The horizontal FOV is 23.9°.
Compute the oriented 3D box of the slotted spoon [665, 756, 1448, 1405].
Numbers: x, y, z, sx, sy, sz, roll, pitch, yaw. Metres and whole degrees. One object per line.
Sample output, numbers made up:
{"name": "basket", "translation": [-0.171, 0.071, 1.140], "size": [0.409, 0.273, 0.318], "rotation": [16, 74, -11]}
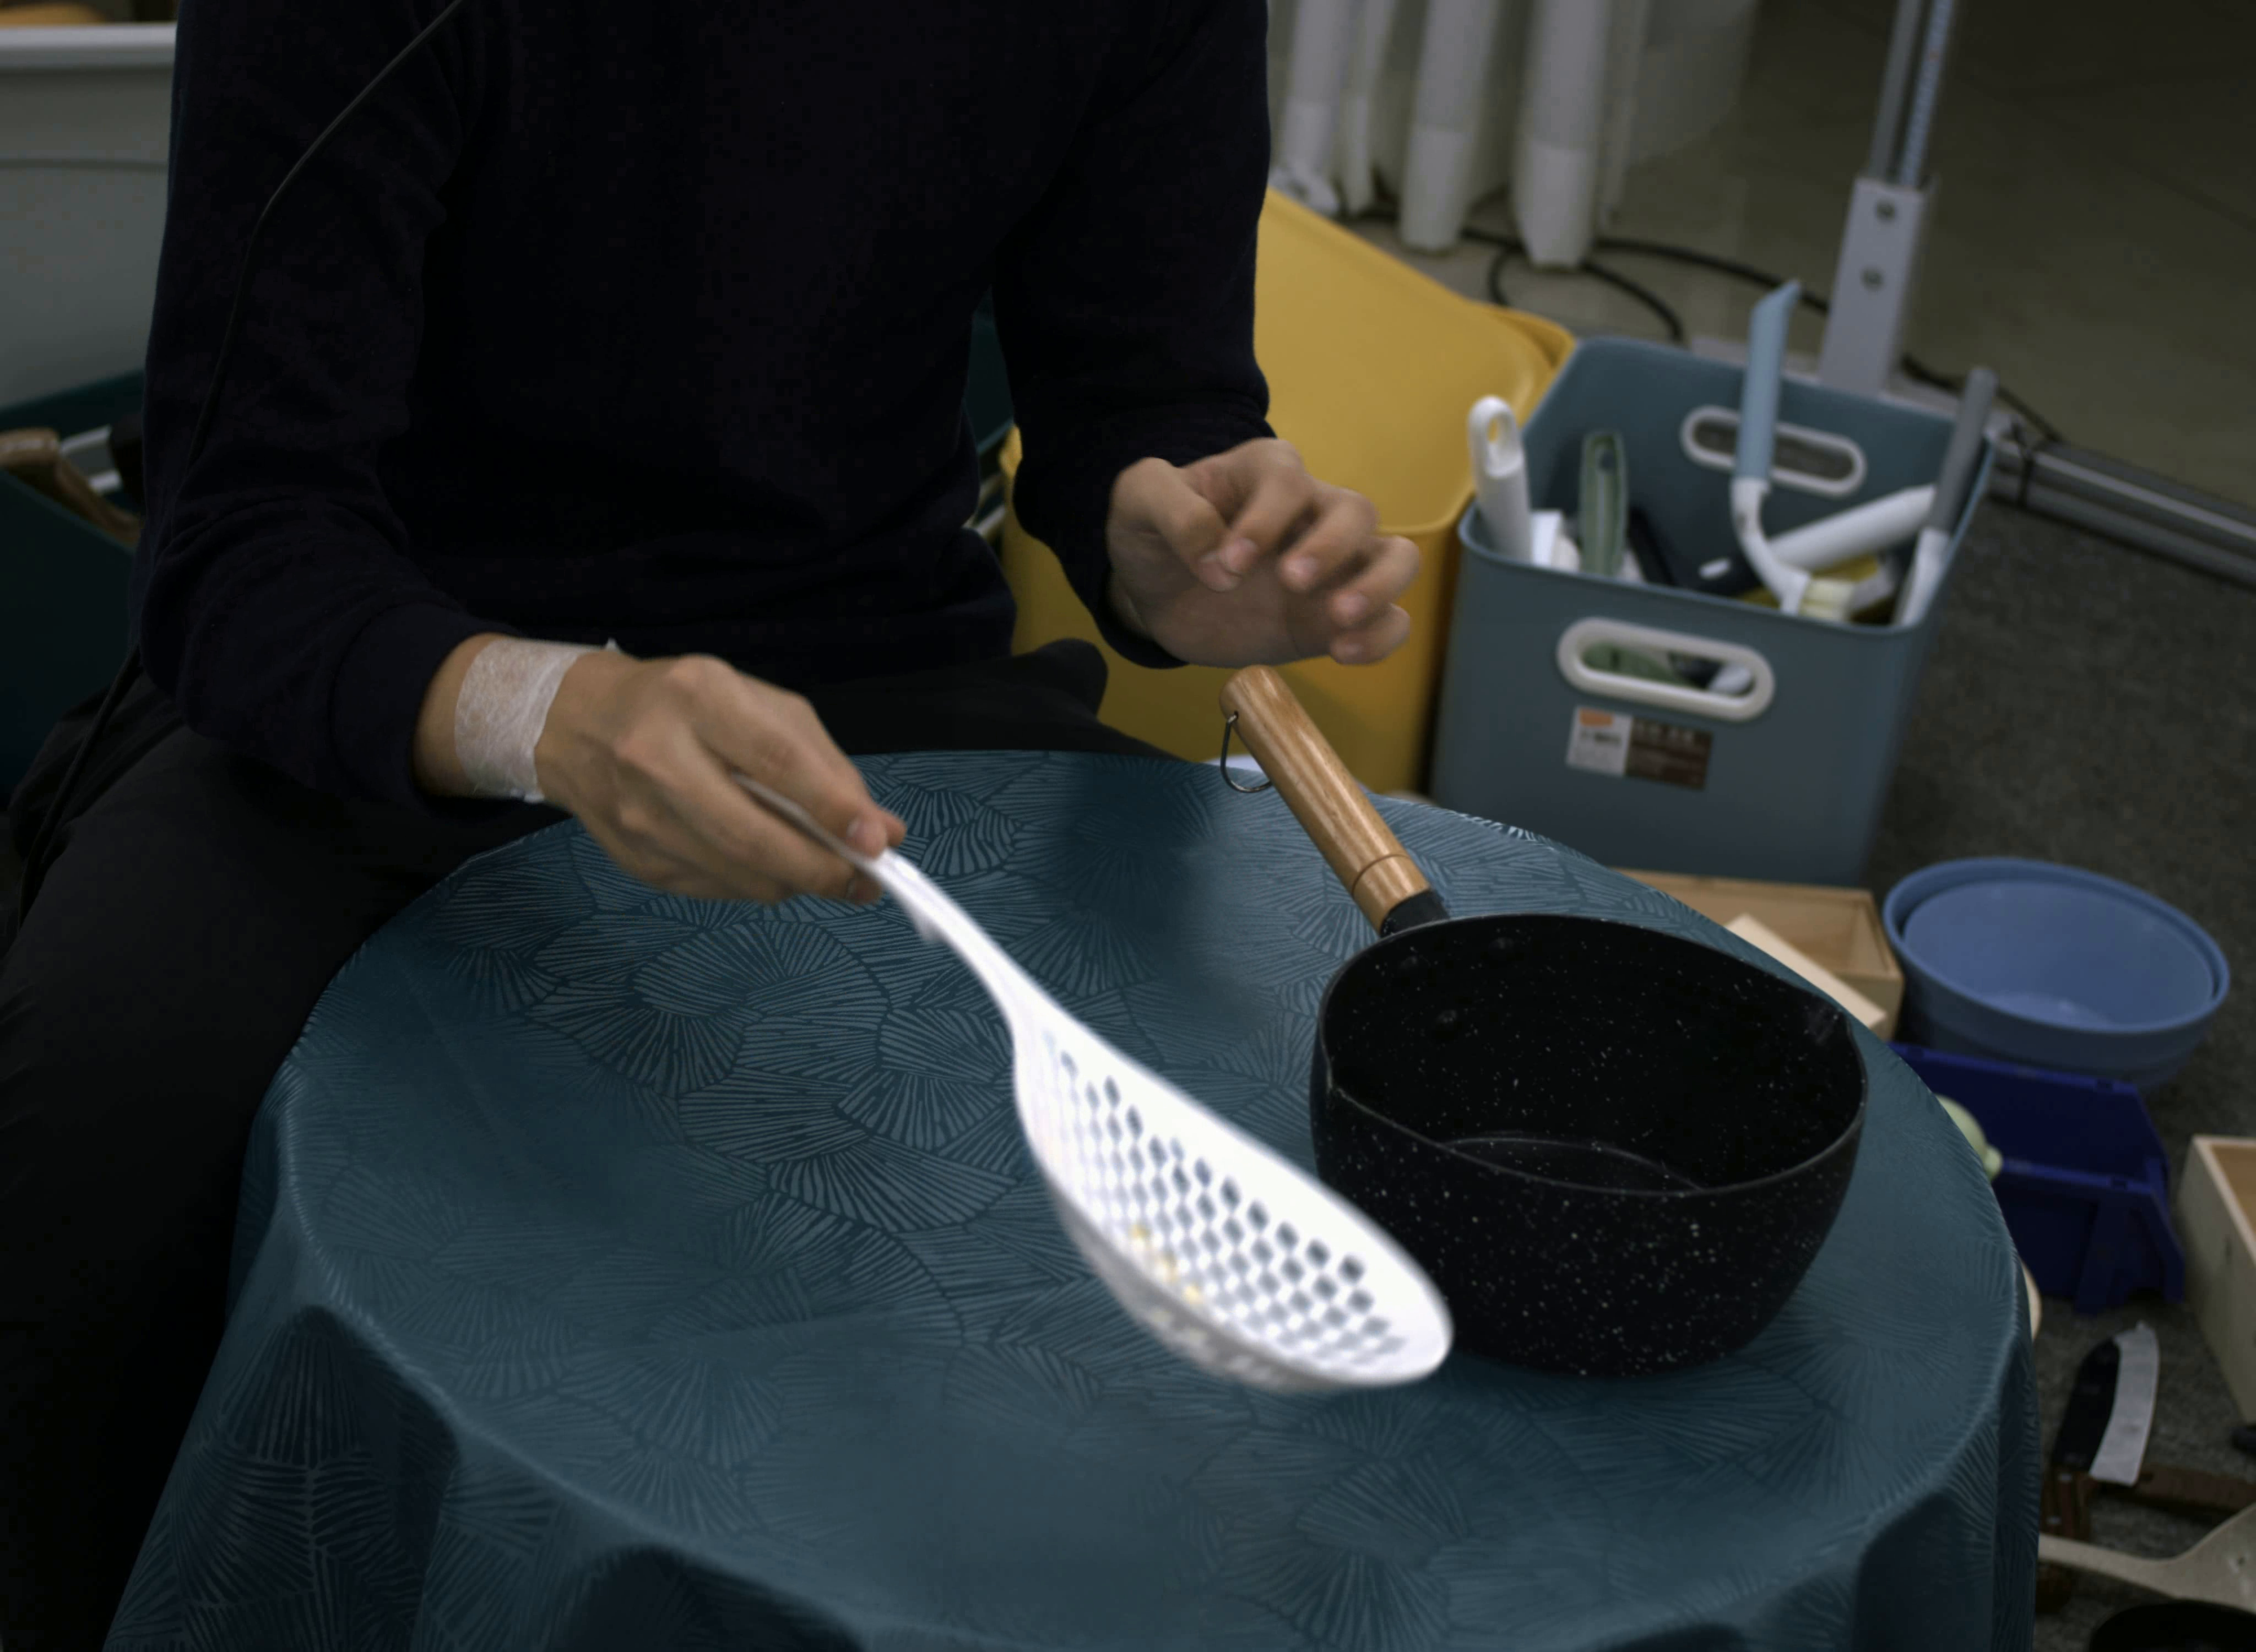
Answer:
{"name": "slotted spoon", "translation": [-0.036, 0.071, 1.653], "size": [0.135, 0.050, 0.351], "rotation": [8, 33, -49]}

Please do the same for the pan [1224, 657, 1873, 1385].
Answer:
{"name": "pan", "translation": [0.113, 0.064, 1.827], "size": [0.206, 0.108, 0.346], "rotation": [-10, 32, -27]}
